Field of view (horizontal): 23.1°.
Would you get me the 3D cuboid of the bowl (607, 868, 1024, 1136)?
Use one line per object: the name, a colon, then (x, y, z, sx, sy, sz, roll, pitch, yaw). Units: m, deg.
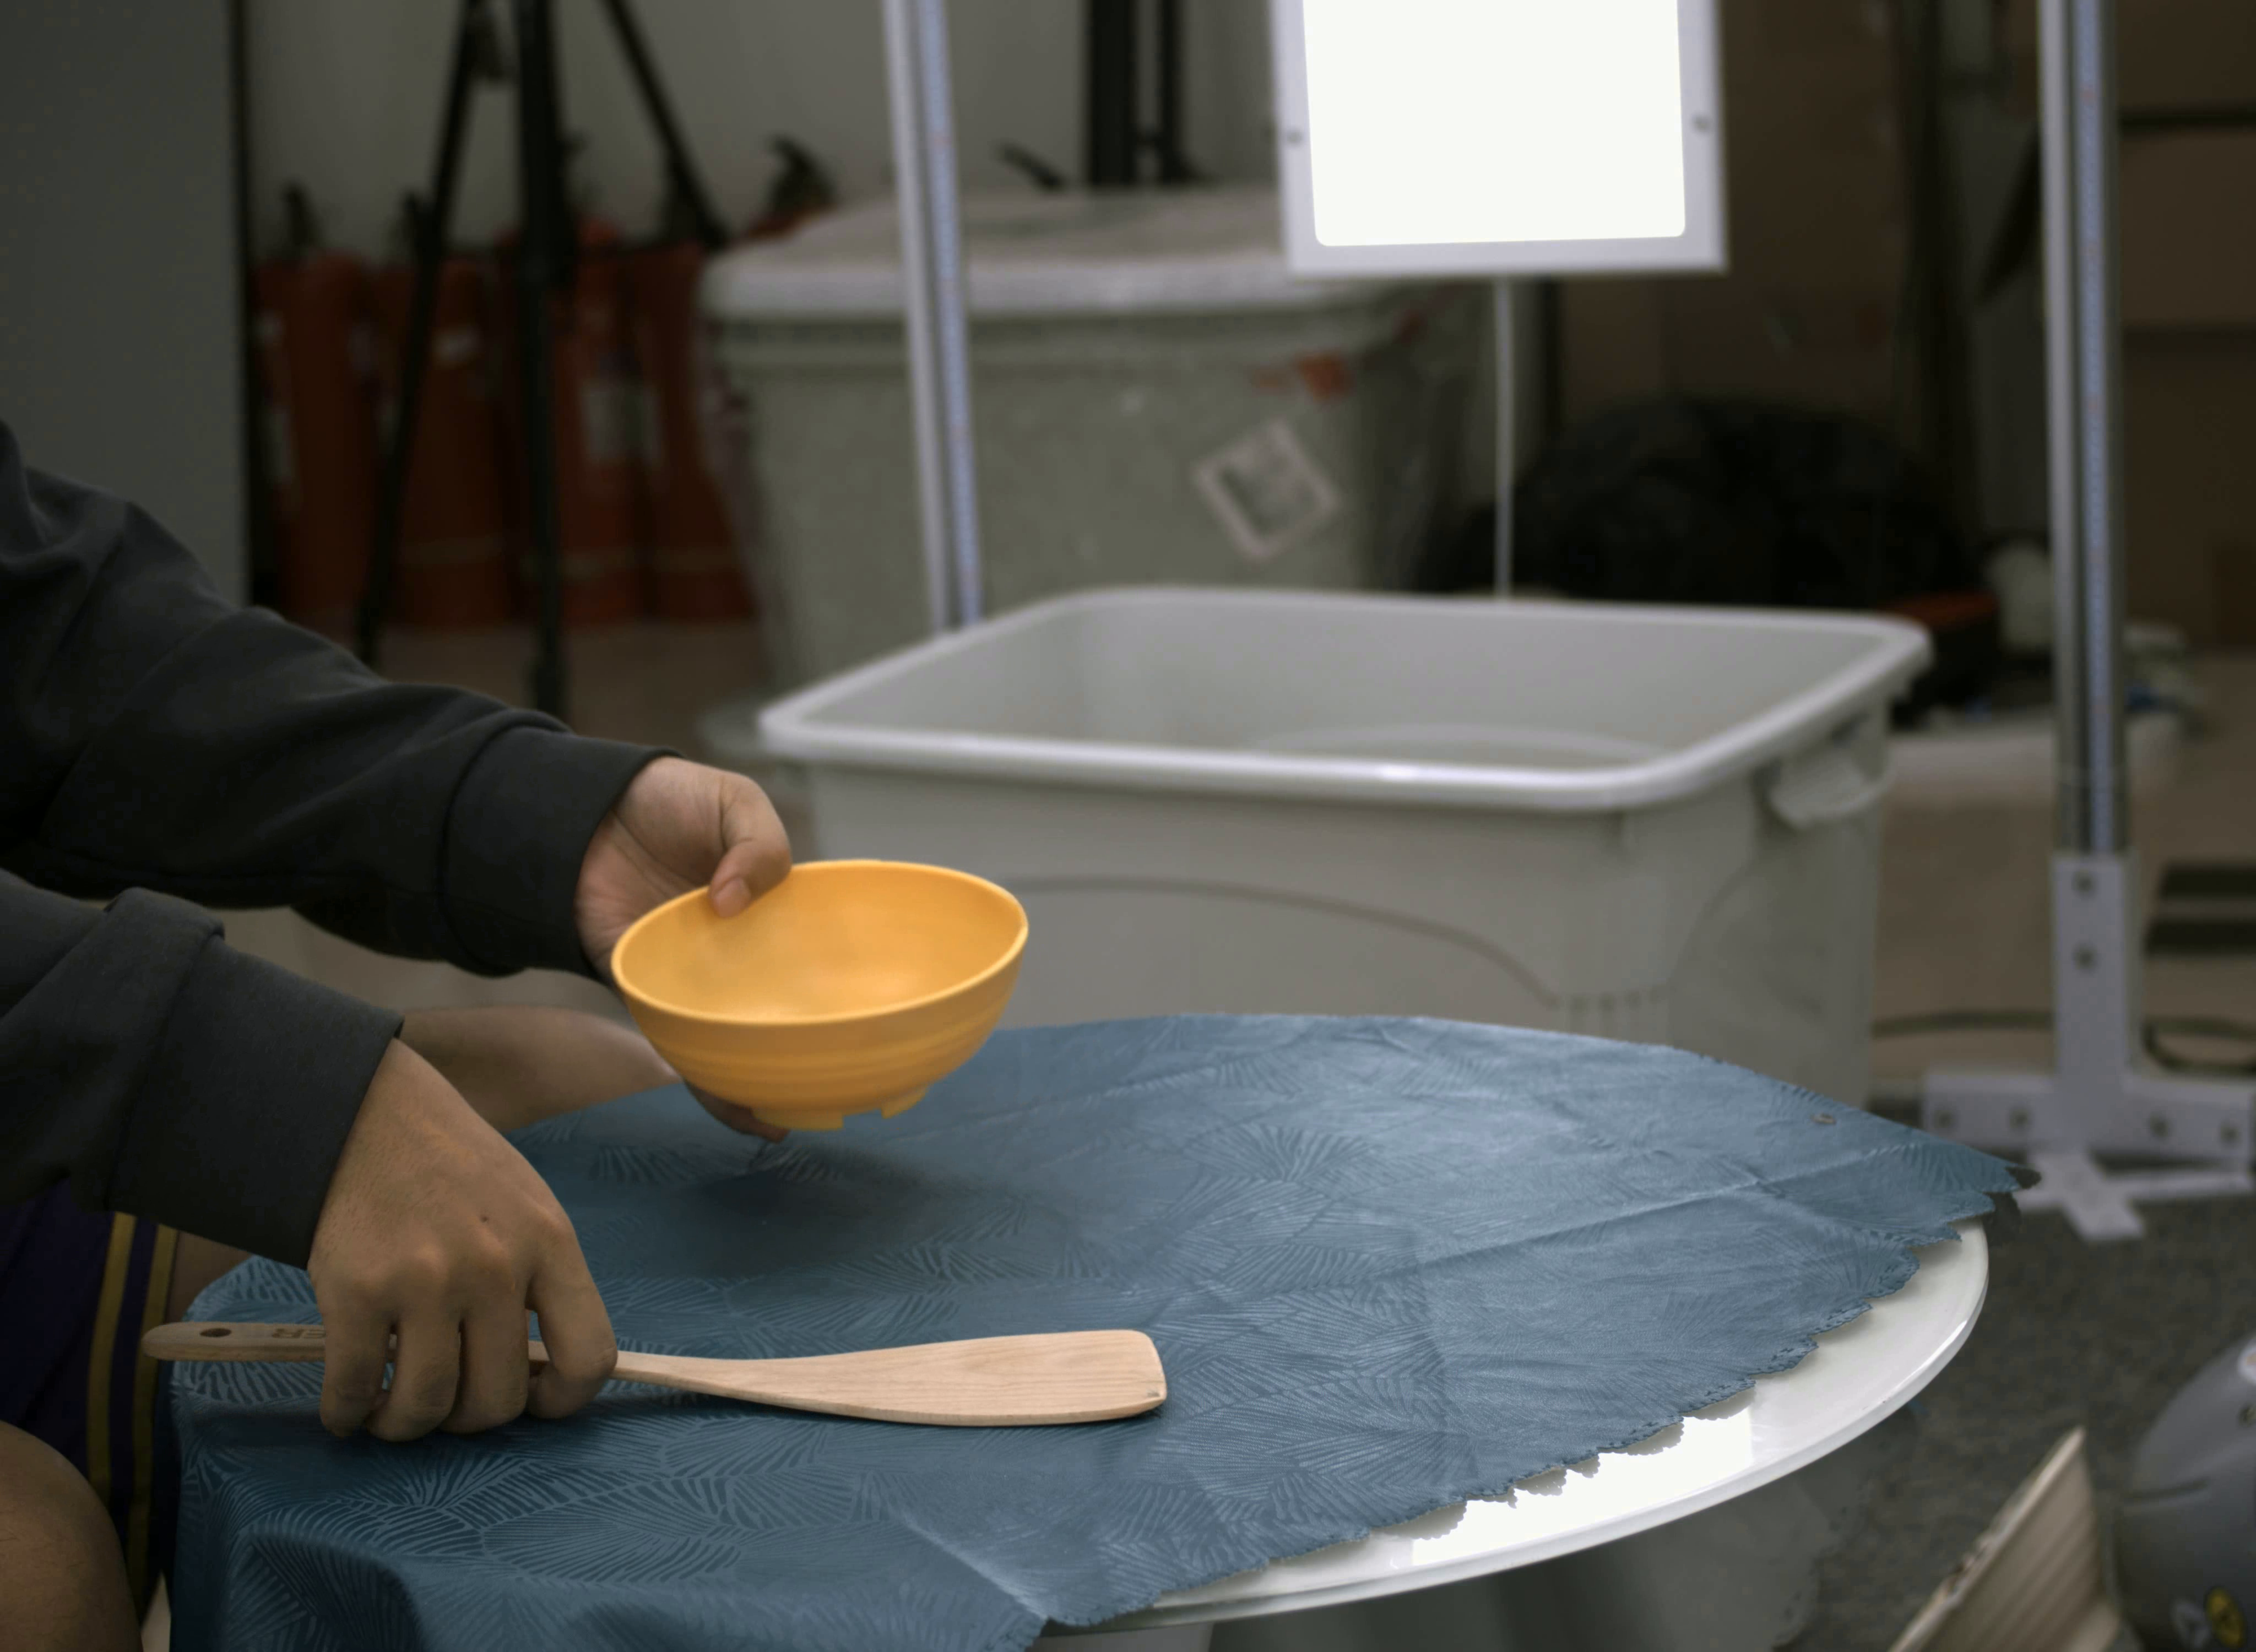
bowl: (-0.106, 0.067, 1.912, 0.145, 0.060, 0.145, -4, 21, 0)

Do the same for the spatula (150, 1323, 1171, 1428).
spatula: (-0.146, 0.166, 1.729, 0.329, 0.016, 0.079, 3, 14, 8)
